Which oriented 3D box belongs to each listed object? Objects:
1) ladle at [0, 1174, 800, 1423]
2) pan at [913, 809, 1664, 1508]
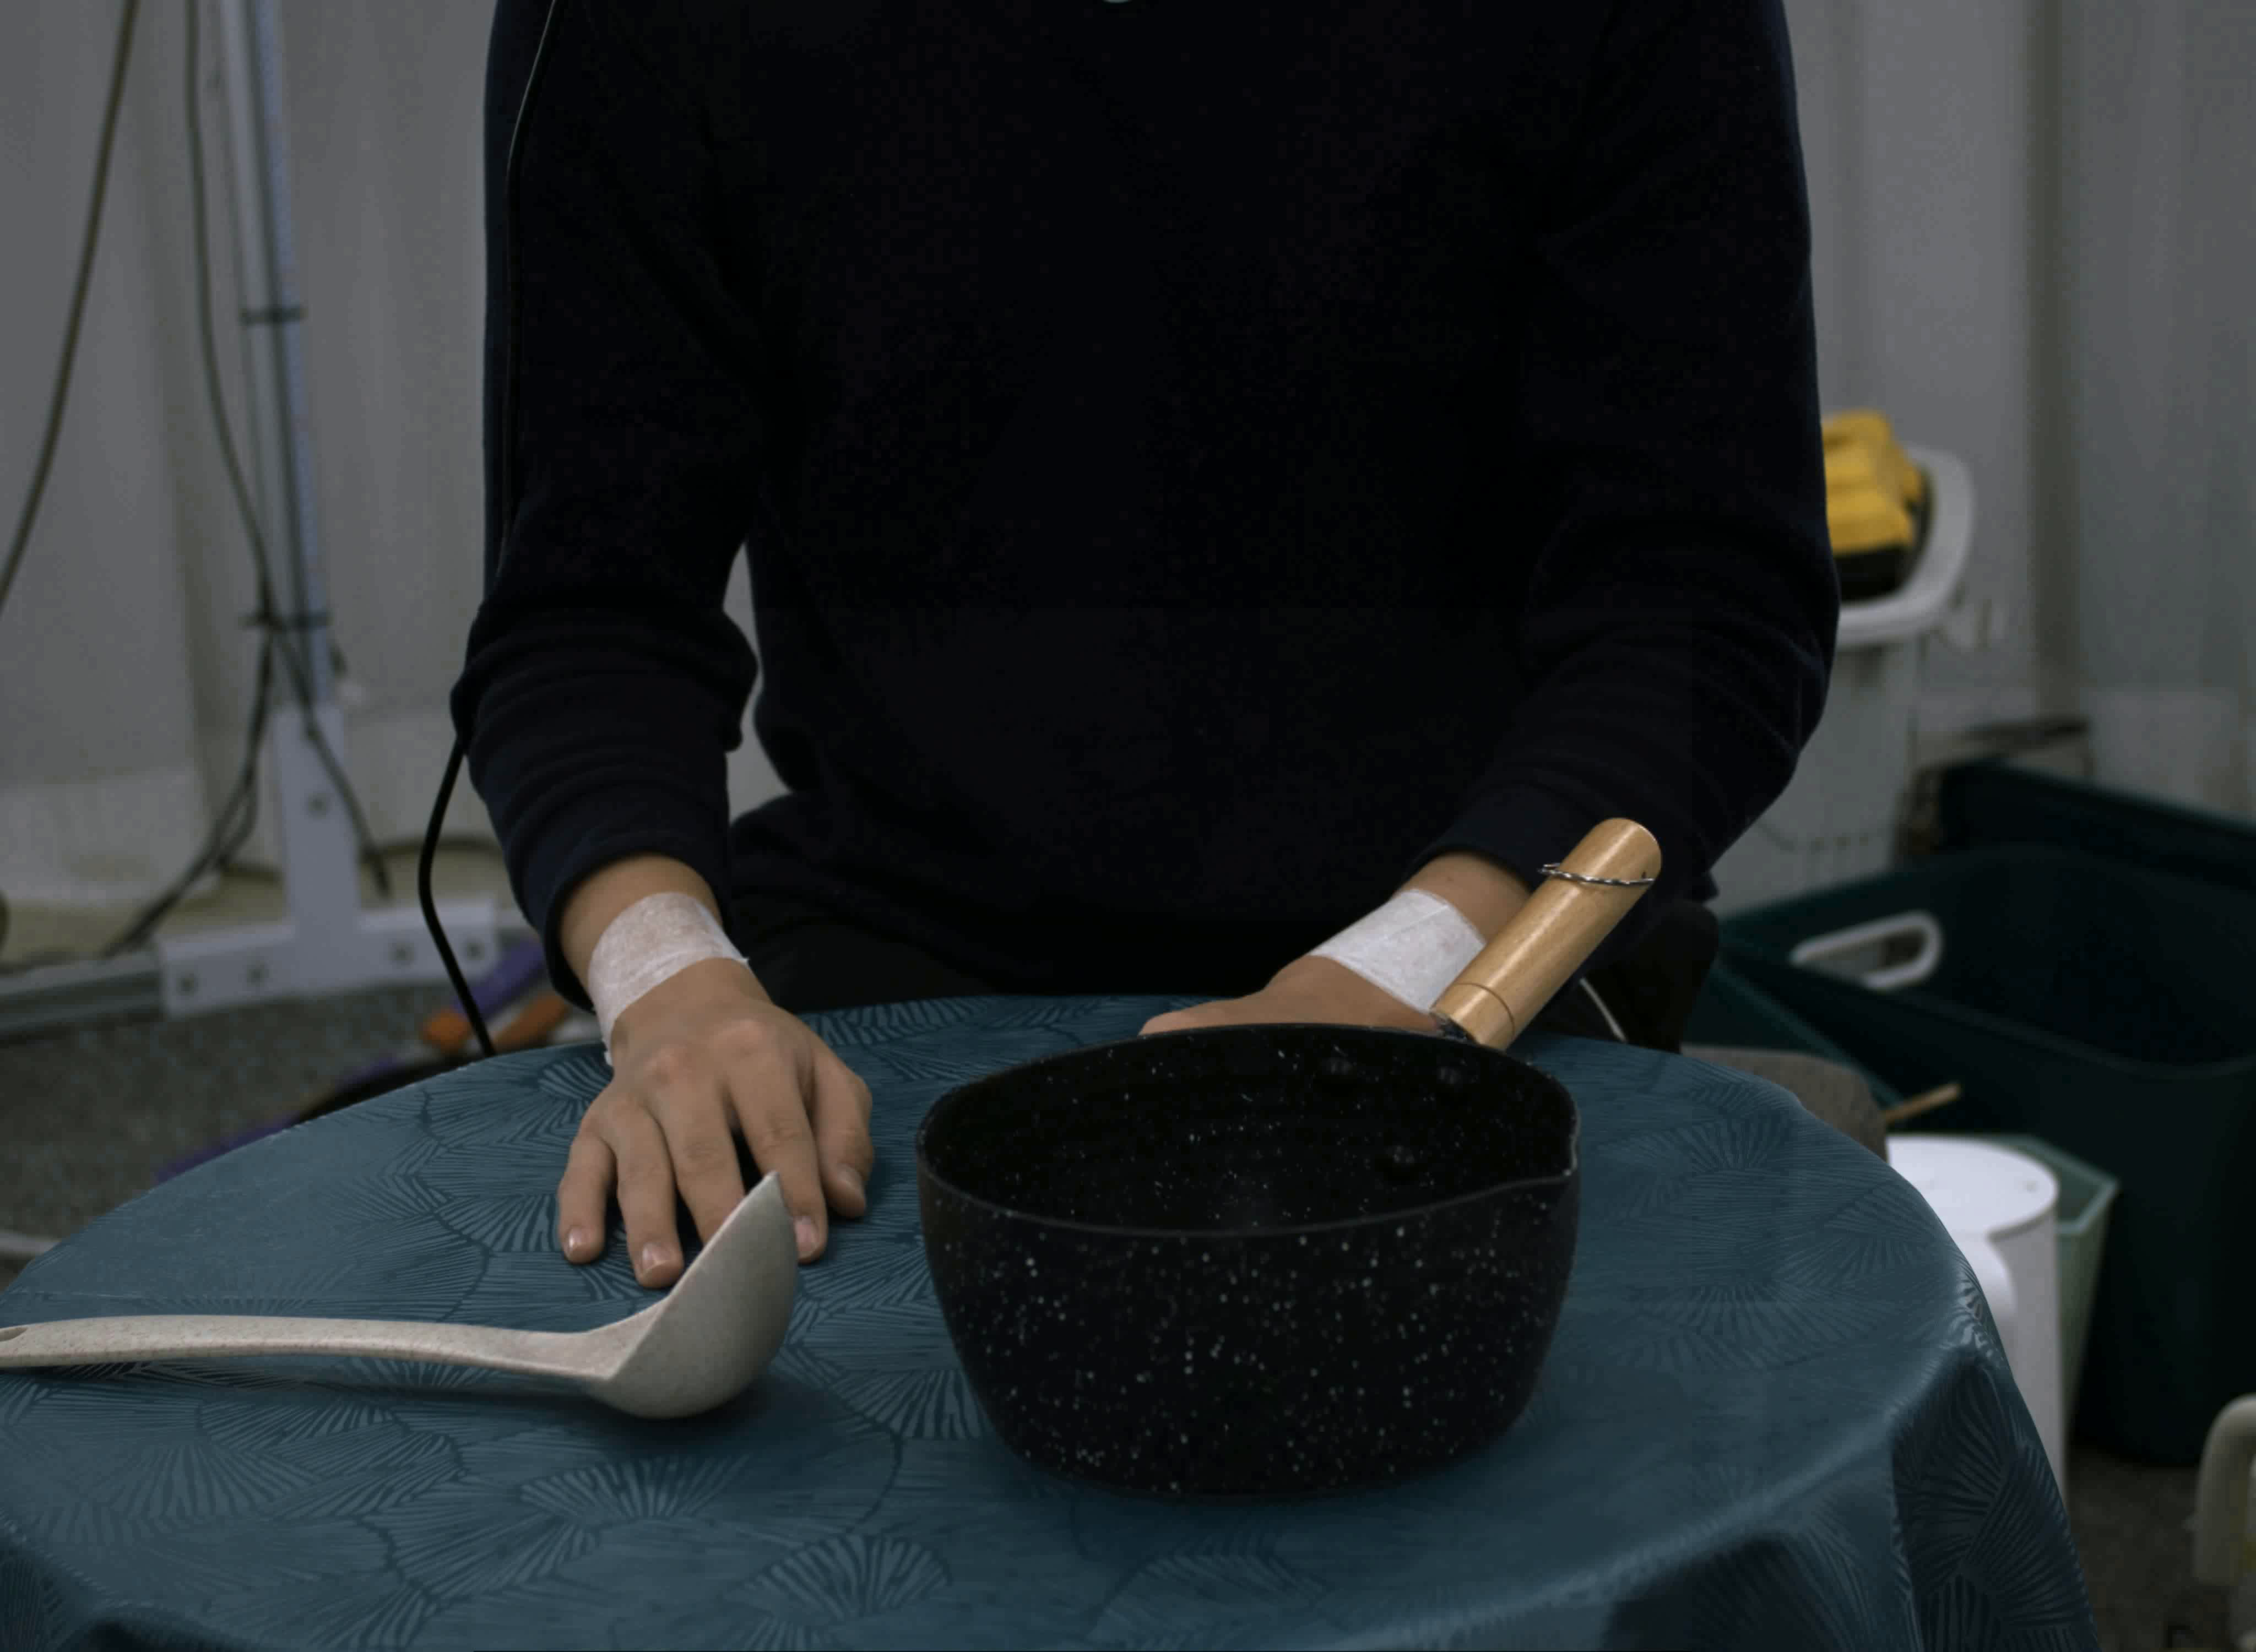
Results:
[{"bbox_3d":[-0.225,0.131,1.574,0.275,0.069,0.090,1,22,18],"label":"ladle"},{"bbox_3d":[0.073,0.091,1.583,0.208,0.108,0.343,4,18,29],"label":"pan"}]
